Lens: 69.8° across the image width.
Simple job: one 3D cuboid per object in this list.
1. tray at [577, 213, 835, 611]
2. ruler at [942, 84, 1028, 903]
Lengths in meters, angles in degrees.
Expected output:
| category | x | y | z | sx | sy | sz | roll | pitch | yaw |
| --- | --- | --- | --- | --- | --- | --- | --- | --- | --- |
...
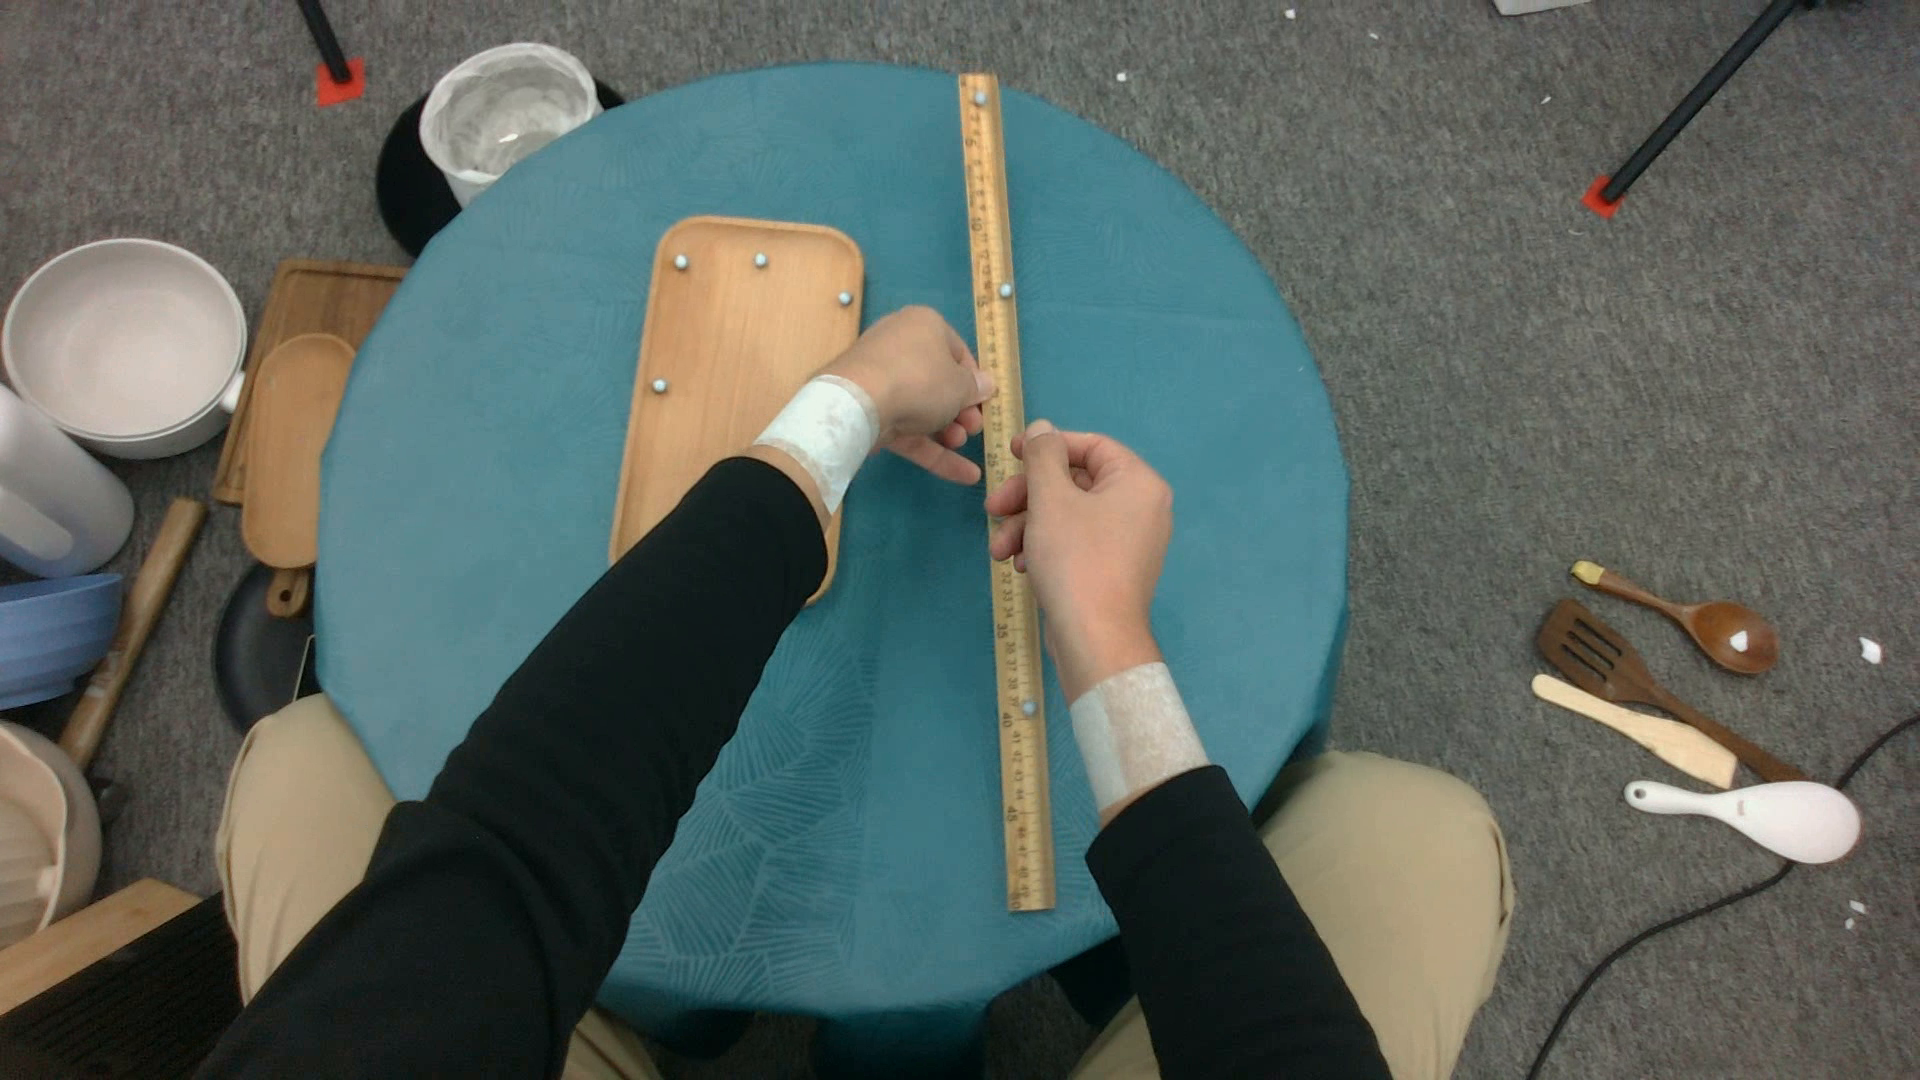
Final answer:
| category | x | y | z | sx | sy | sz | roll | pitch | yaw |
| --- | --- | --- | --- | --- | --- | --- | --- | --- | --- |
| tray | -0.145 | -0.079 | 0.809 | 0.130 | 0.023 | 0.251 | 4 | 69 | -2 |
| ruler | 0.012 | -0.048 | 0.797 | 0.027 | 0.006 | 0.501 | 0 | 73 | -9 |
